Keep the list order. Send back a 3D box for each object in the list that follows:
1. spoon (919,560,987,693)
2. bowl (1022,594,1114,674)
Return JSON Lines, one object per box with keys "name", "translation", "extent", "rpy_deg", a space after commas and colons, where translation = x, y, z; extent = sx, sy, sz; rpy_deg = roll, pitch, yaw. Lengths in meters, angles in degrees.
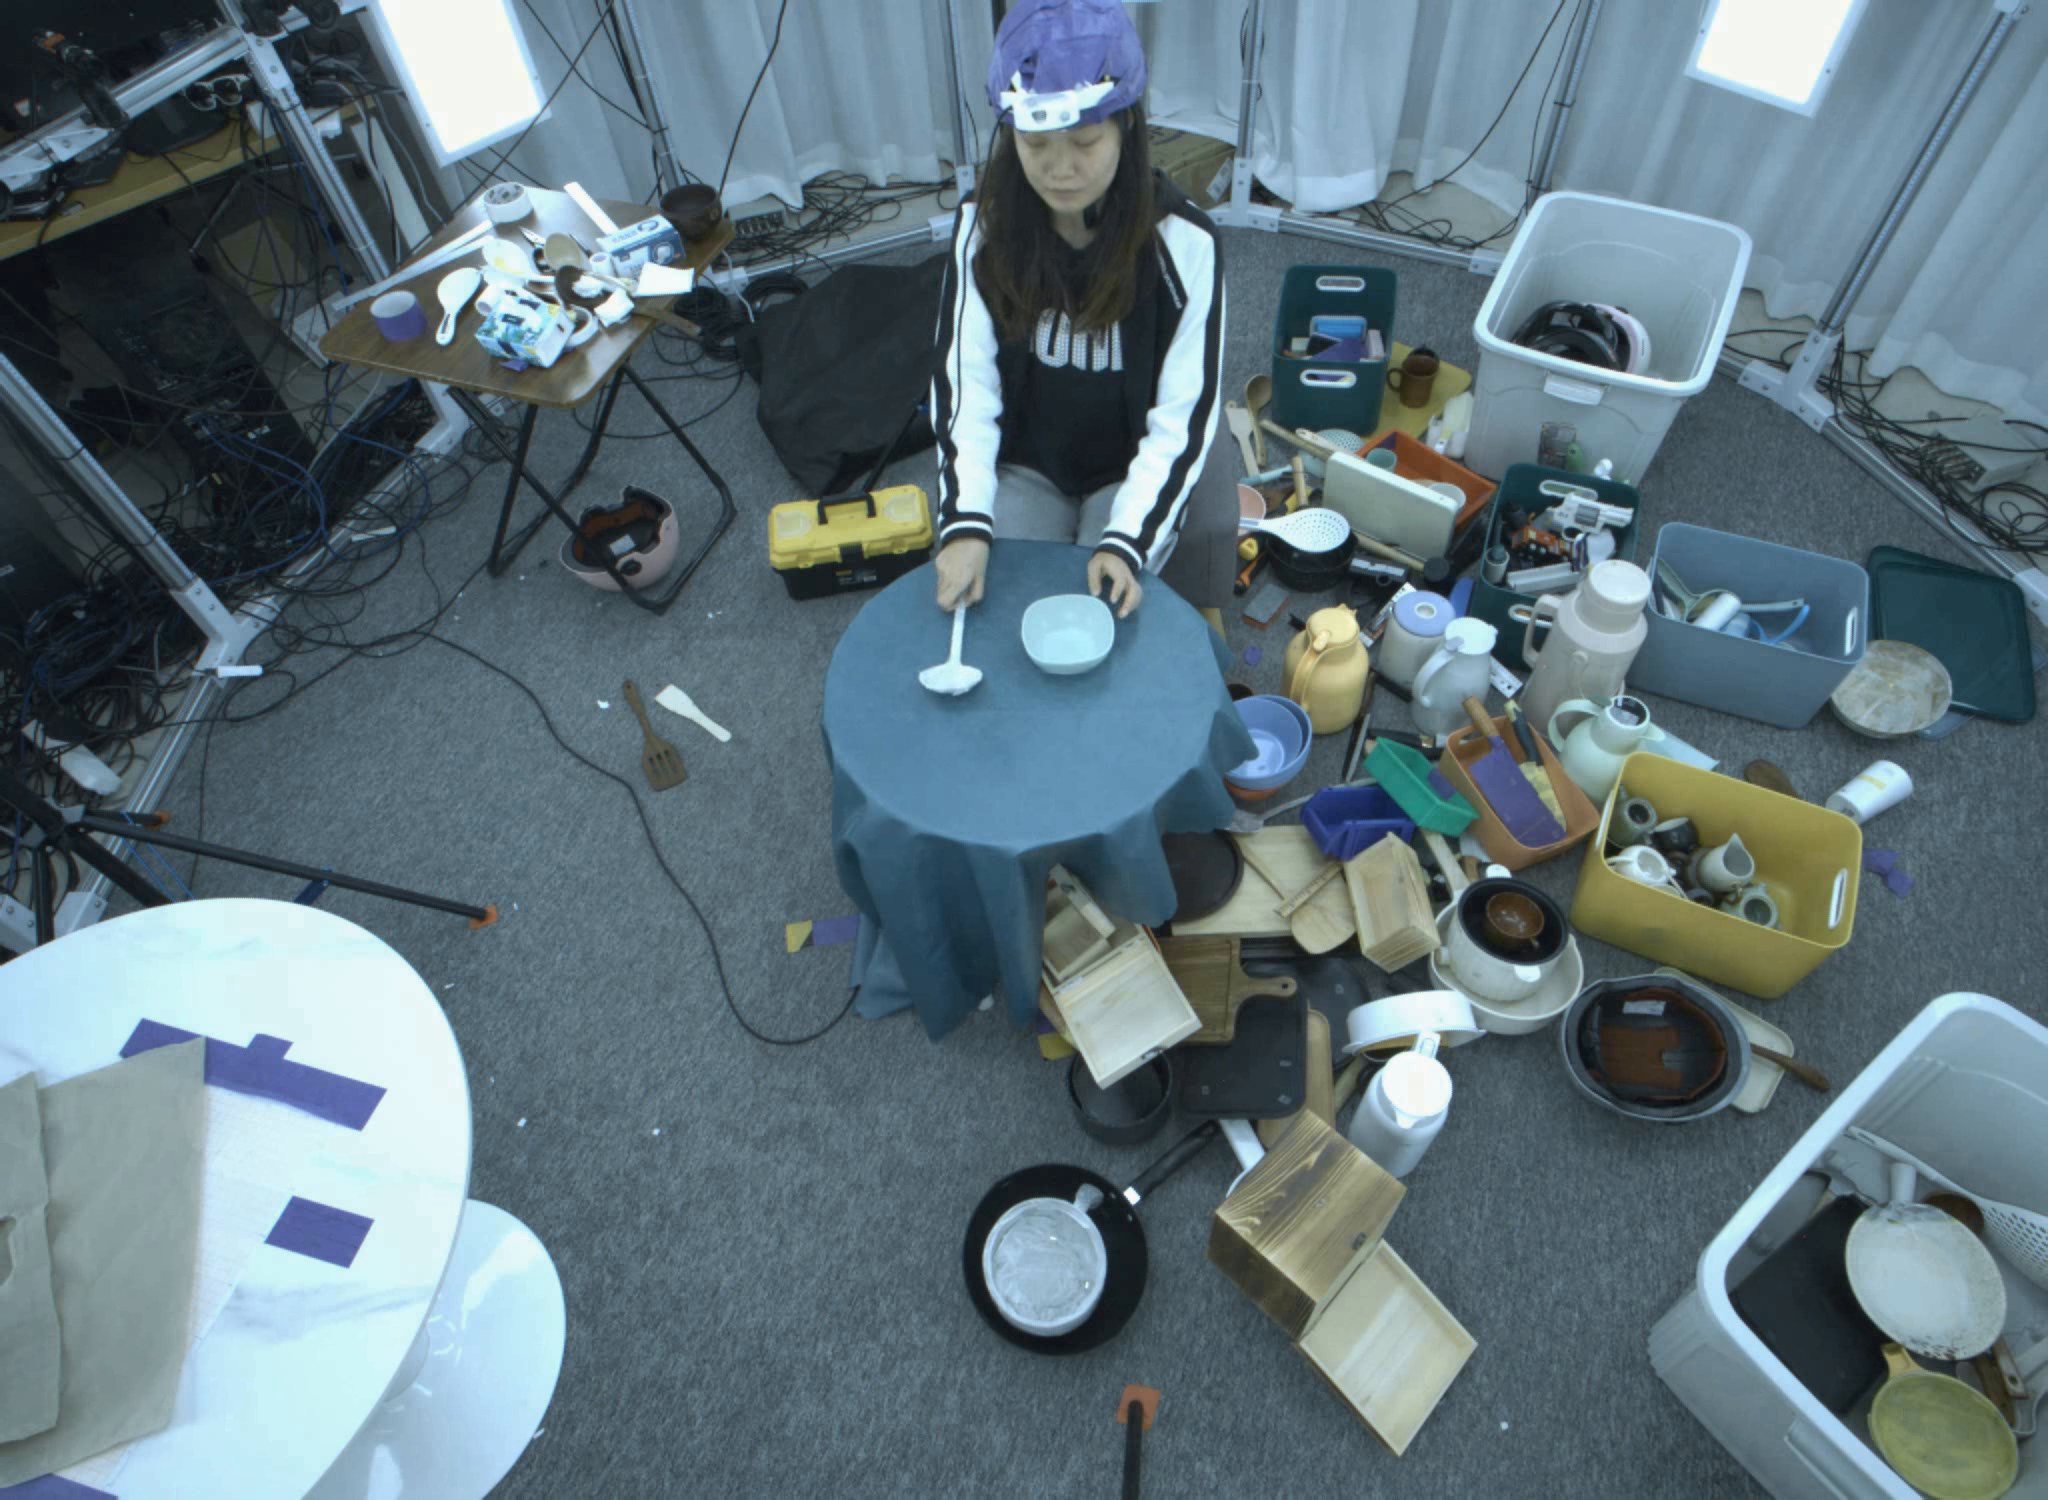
{"name": "spoon", "translation": [-0.095, -0.196, 1.884], "extent": [0.101, 0.060, 0.275], "rpy_deg": [8, 62, 0]}
{"name": "bowl", "translation": [0.068, -0.167, 1.871], "extent": [0.151, 0.059, 0.150], "rpy_deg": [-1, 55, 2]}
